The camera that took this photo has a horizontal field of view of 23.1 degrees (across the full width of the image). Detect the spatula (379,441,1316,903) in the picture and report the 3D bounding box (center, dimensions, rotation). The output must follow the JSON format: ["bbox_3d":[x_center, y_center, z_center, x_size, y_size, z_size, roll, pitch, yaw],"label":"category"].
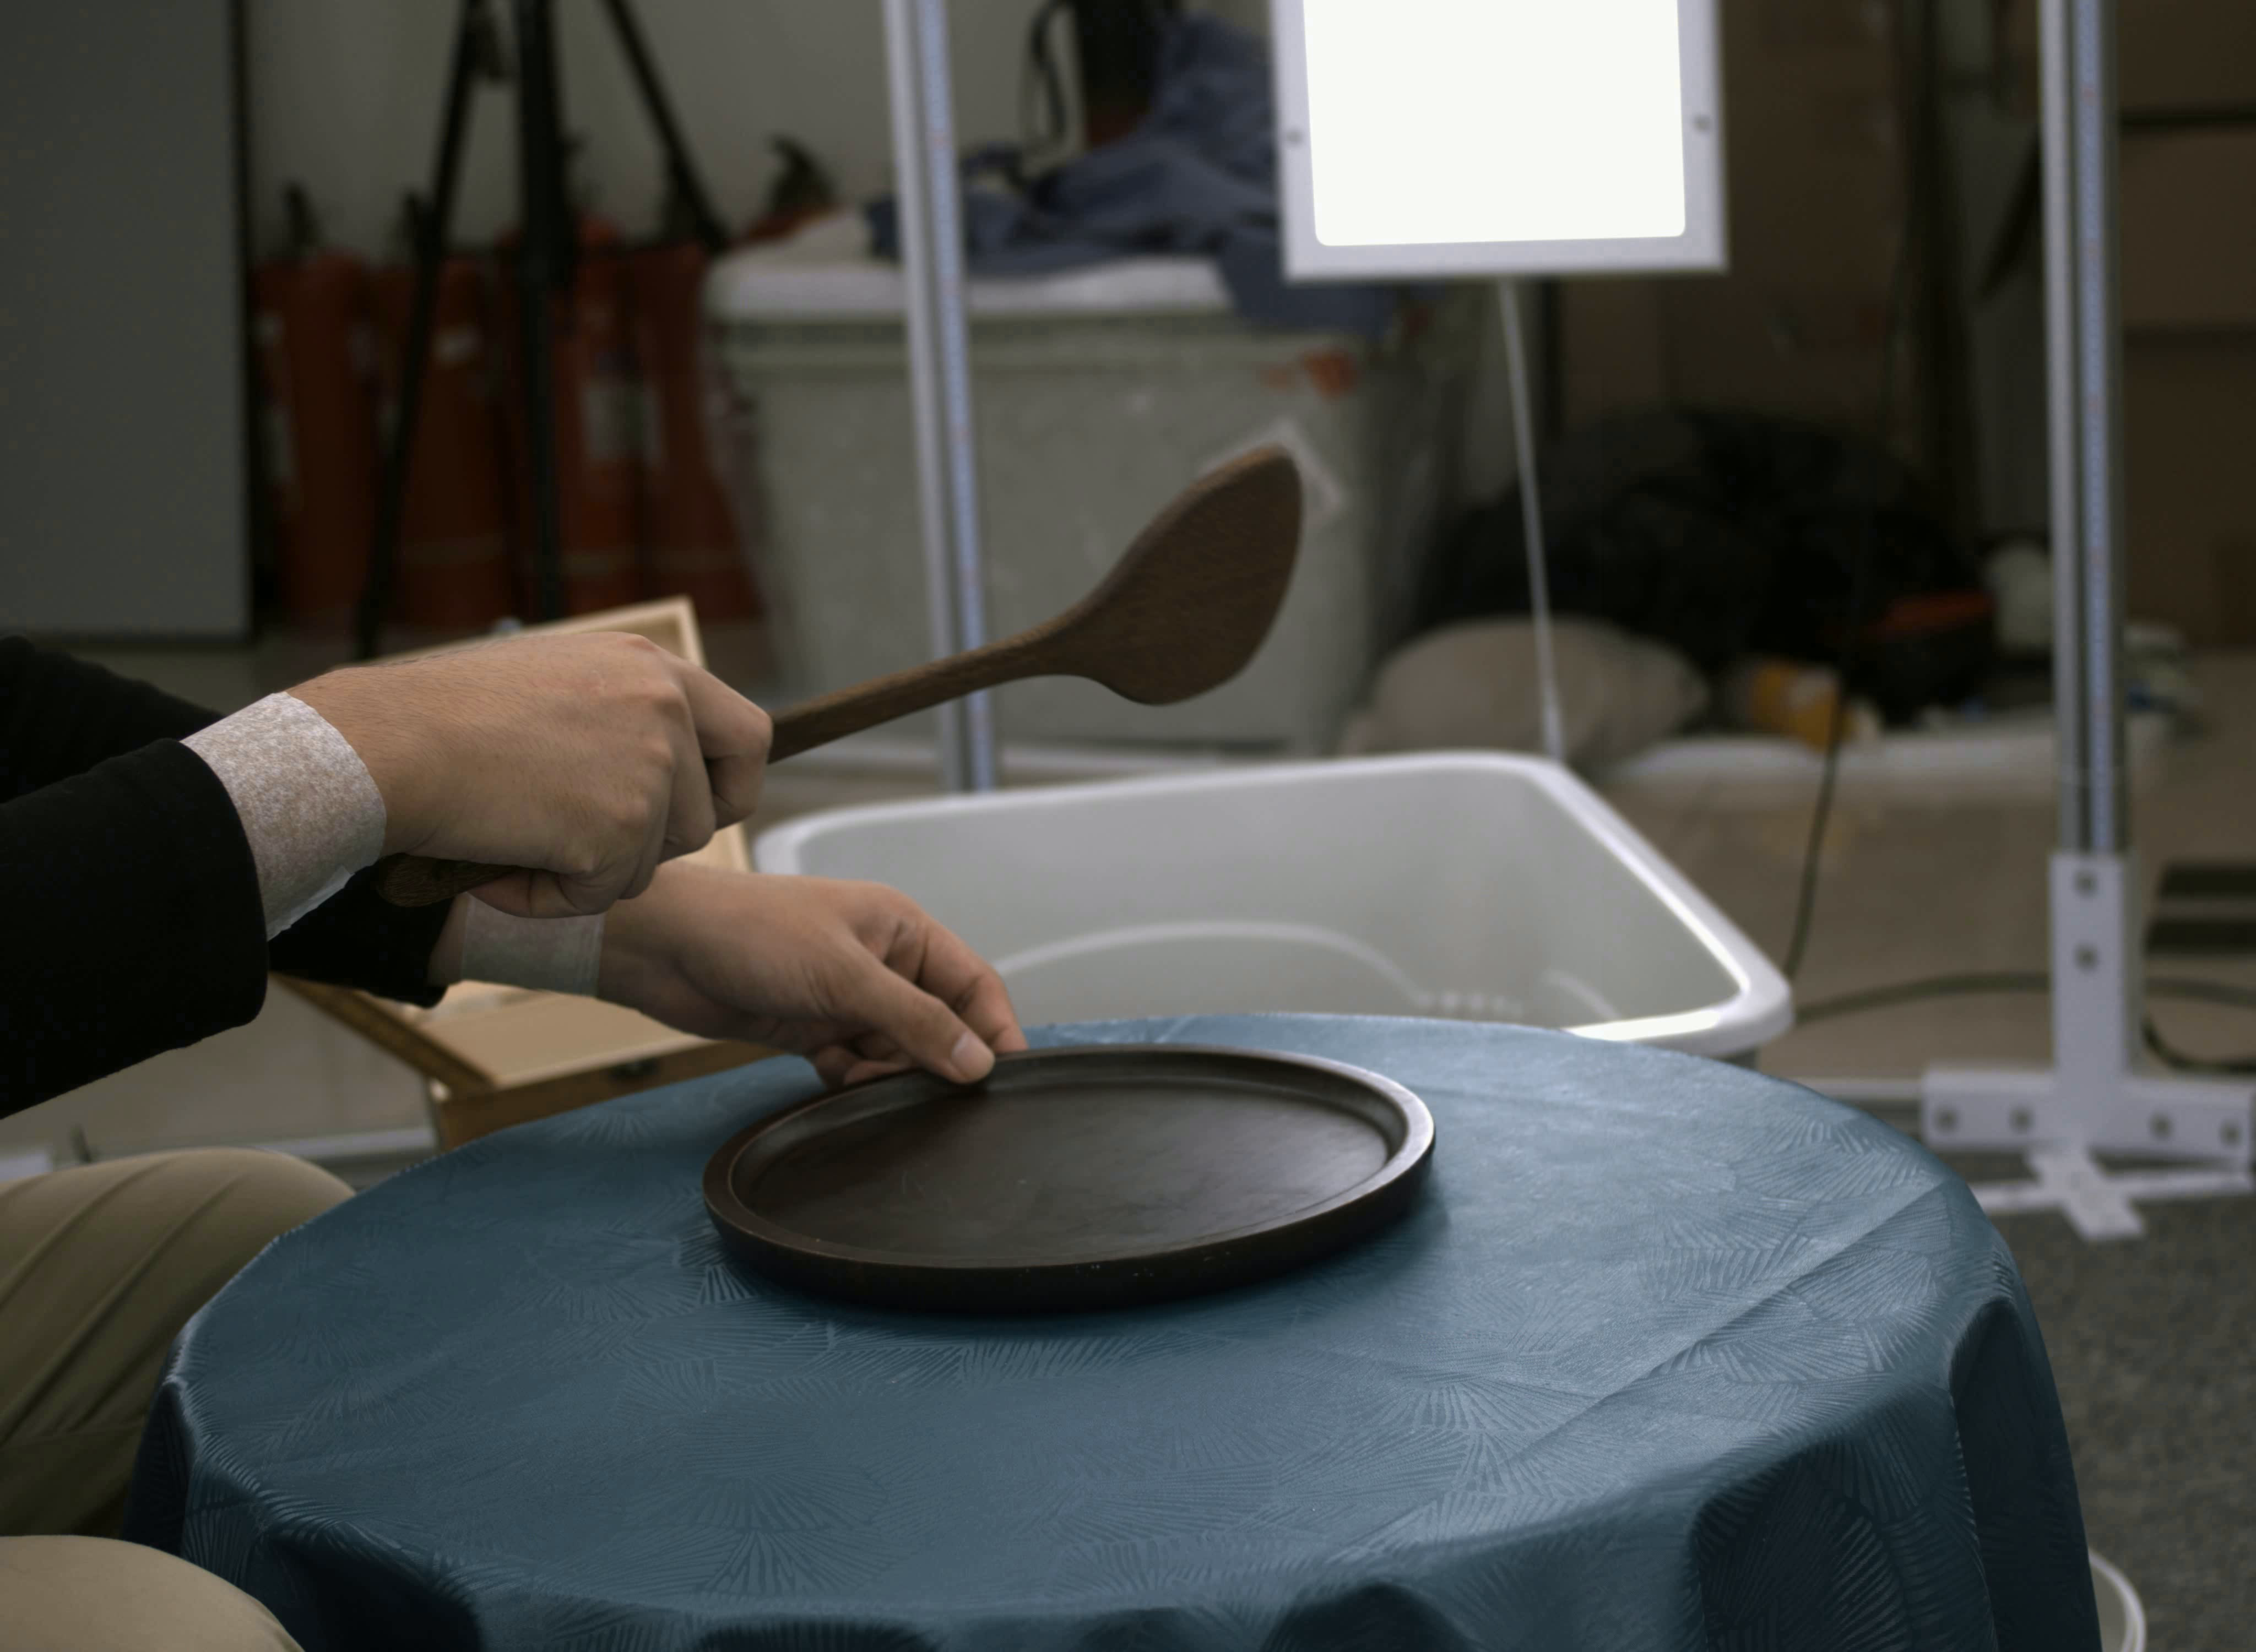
[{"bbox_3d":[-0.083,-0.040,1.786,0.377,0.097,0.016,-20,44,-33],"label":"spatula"}]

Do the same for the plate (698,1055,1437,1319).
[{"bbox_3d":[-0.021,0.121,1.885,0.254,0.029,0.254,-4,15,0],"label":"plate"}]
